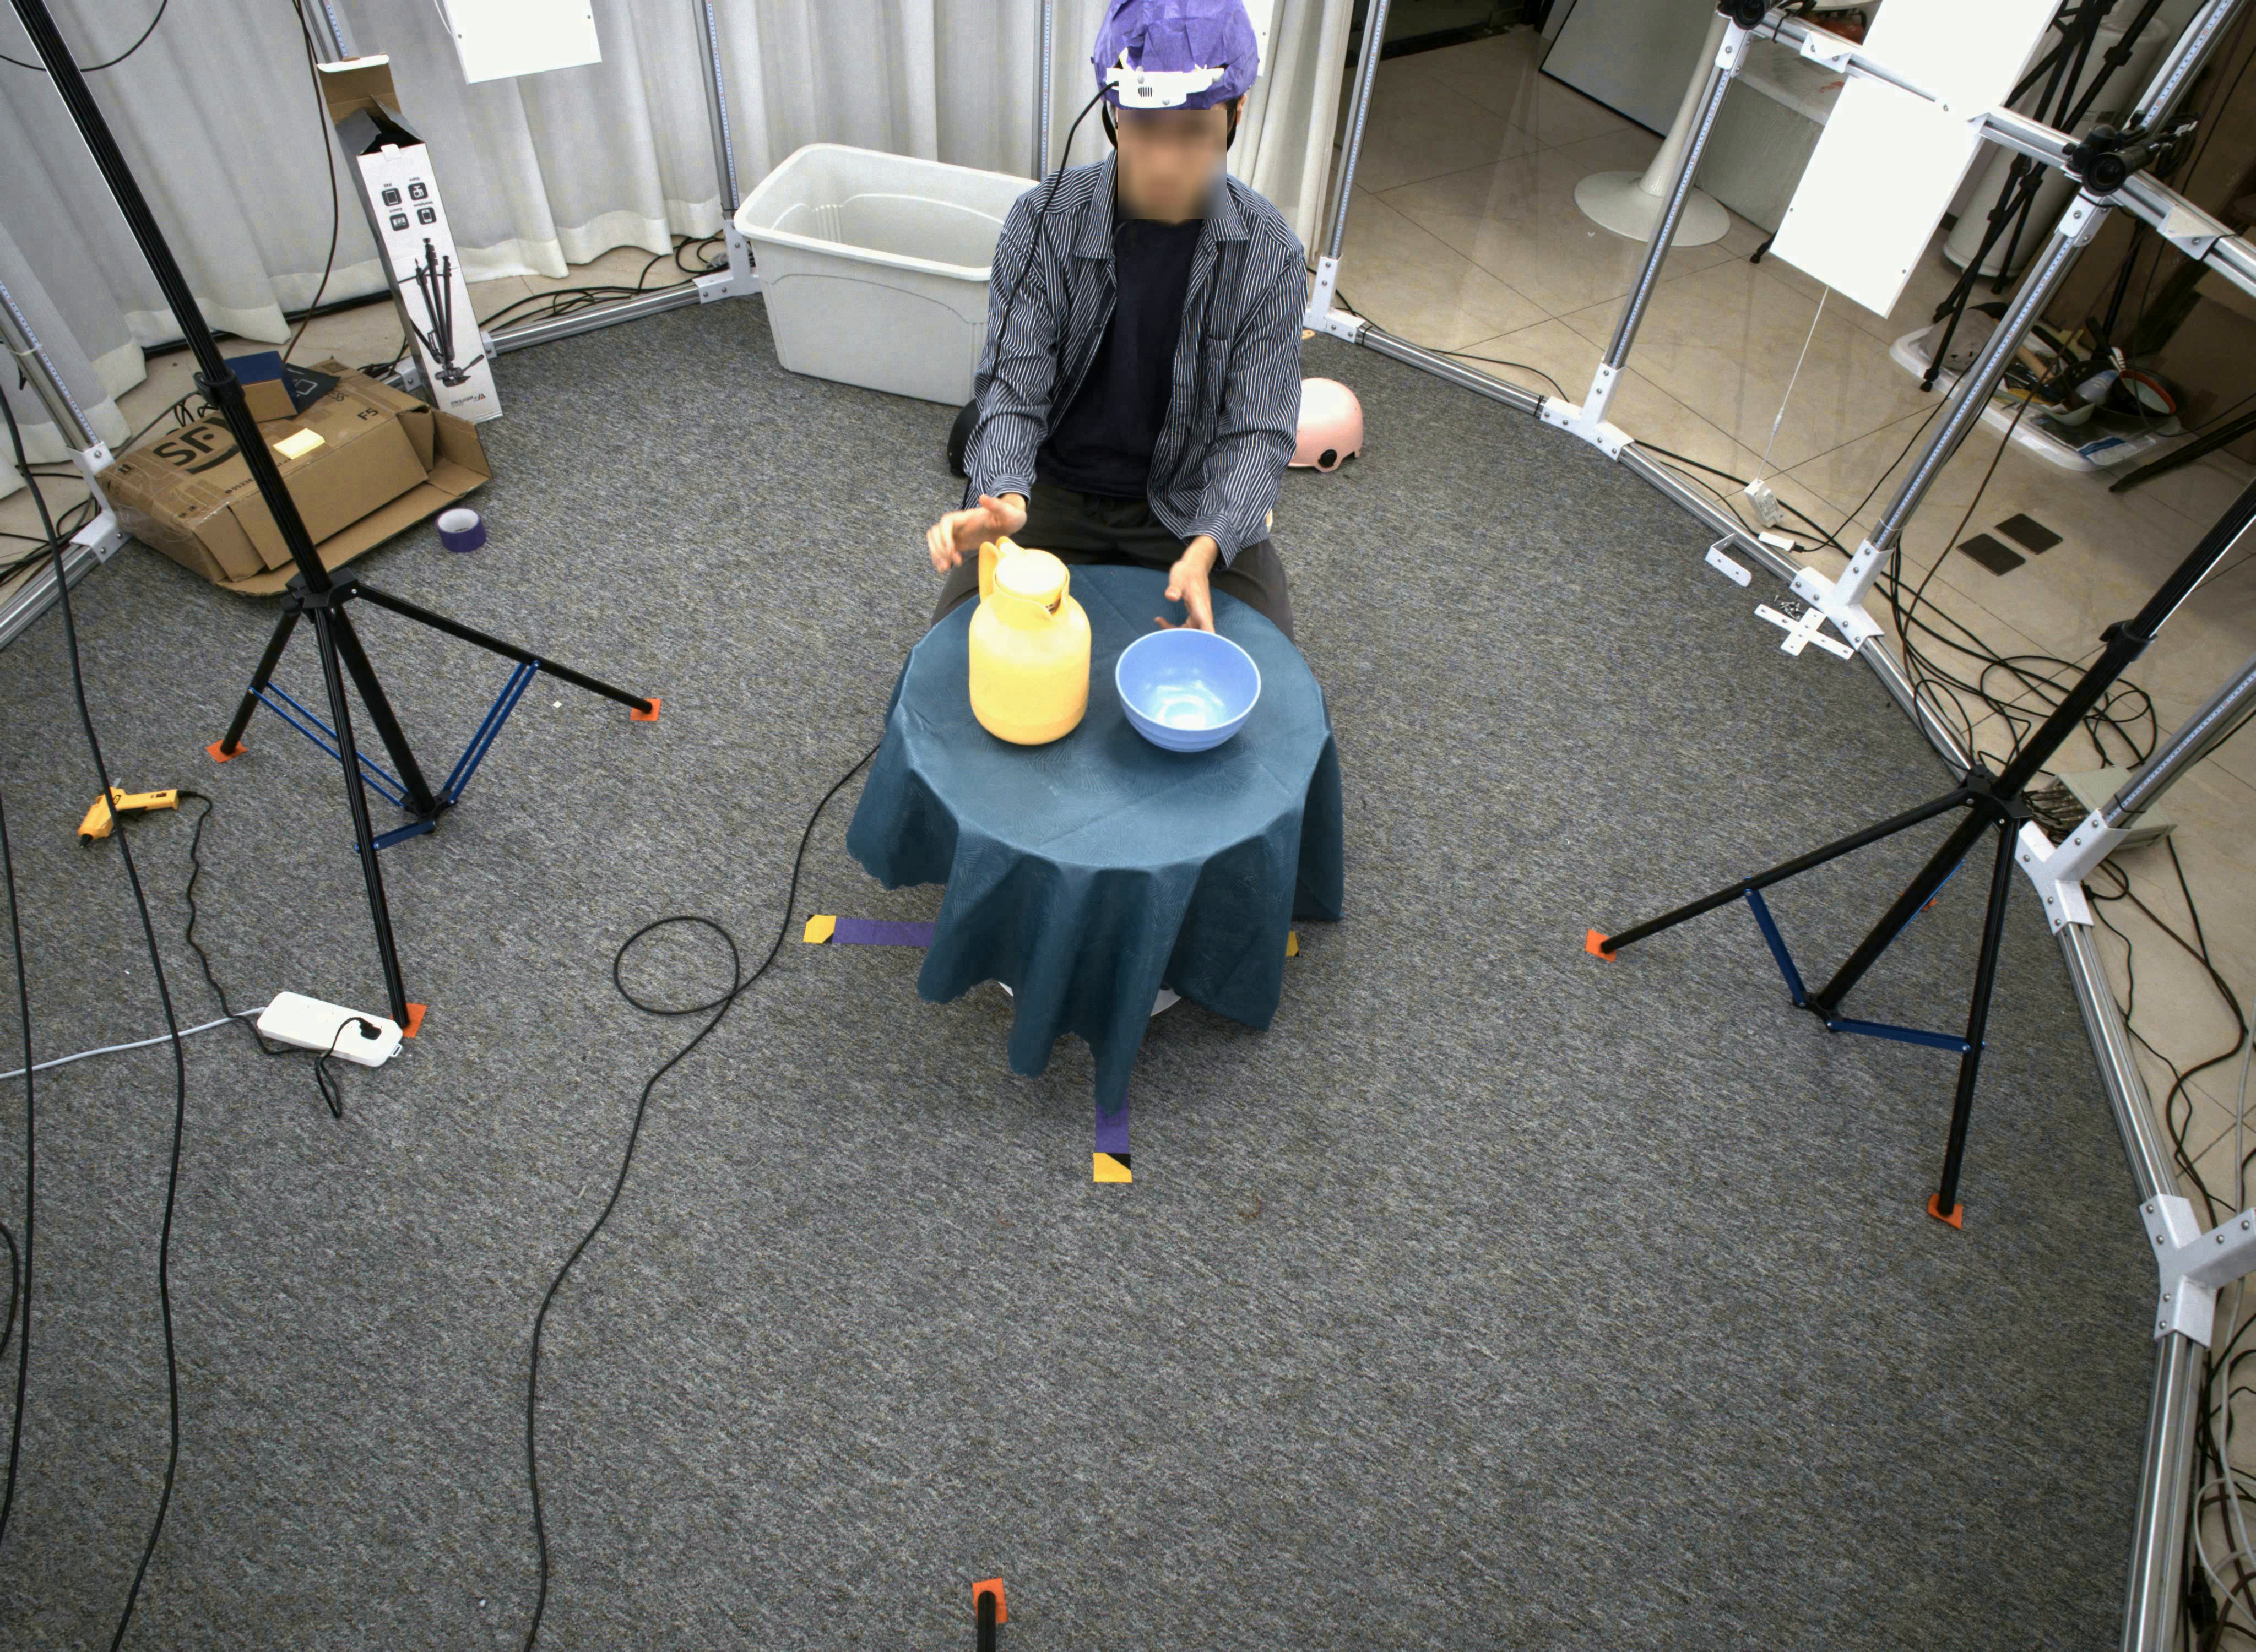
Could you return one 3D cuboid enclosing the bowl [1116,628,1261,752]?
[{"bbox_3d":[0.078,-0.171,1.753,0.196,0.093,0.201,2,49,-3],"label":"bowl"}]

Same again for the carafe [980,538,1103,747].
[{"bbox_3d":[-0.122,-0.251,1.699,0.164,0.254,0.206,-24,54,-23],"label":"carafe"}]
